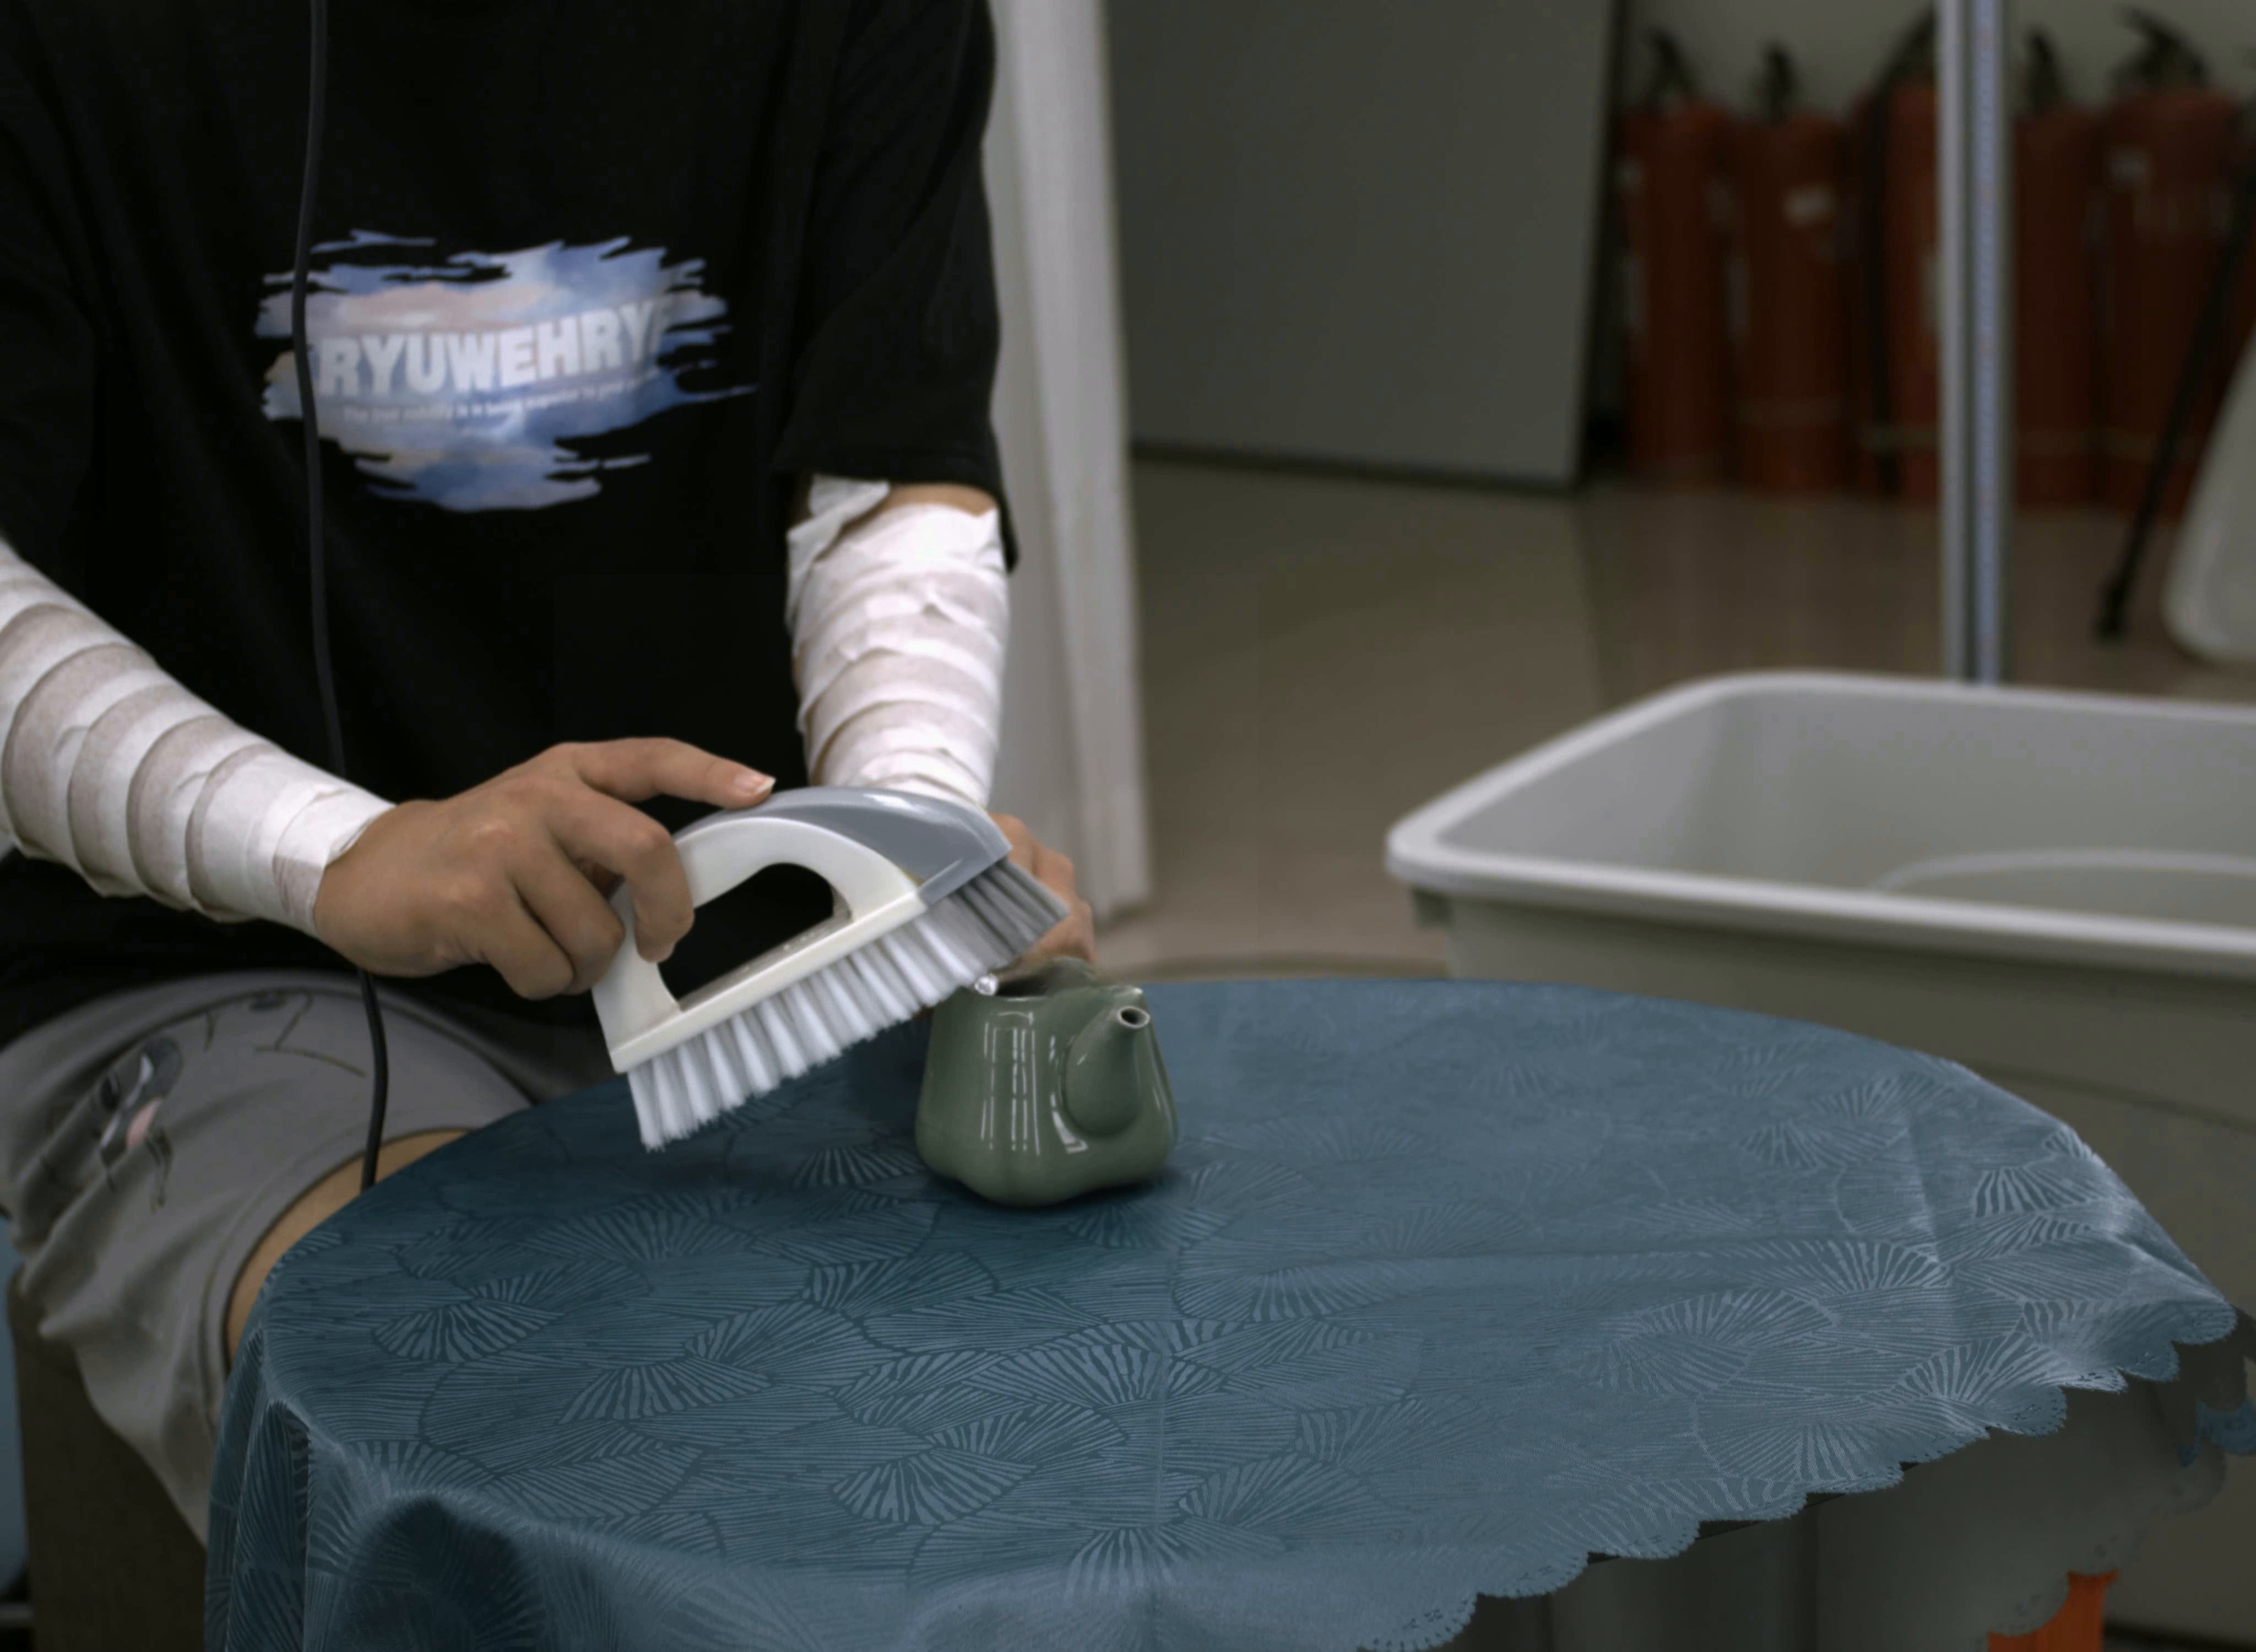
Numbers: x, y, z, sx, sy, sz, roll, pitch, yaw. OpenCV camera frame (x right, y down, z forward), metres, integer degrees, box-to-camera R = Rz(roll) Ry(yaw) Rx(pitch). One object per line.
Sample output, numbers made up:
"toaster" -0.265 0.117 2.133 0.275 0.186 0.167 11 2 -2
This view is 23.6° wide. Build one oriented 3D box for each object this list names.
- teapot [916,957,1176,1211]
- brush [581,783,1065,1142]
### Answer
"teapot" -0.028 0.083 1.786 0.078 0.076 0.134 -8 12 -26
"brush" -0.108 0.030 1.781 0.176 0.094 0.061 -26 9 32
